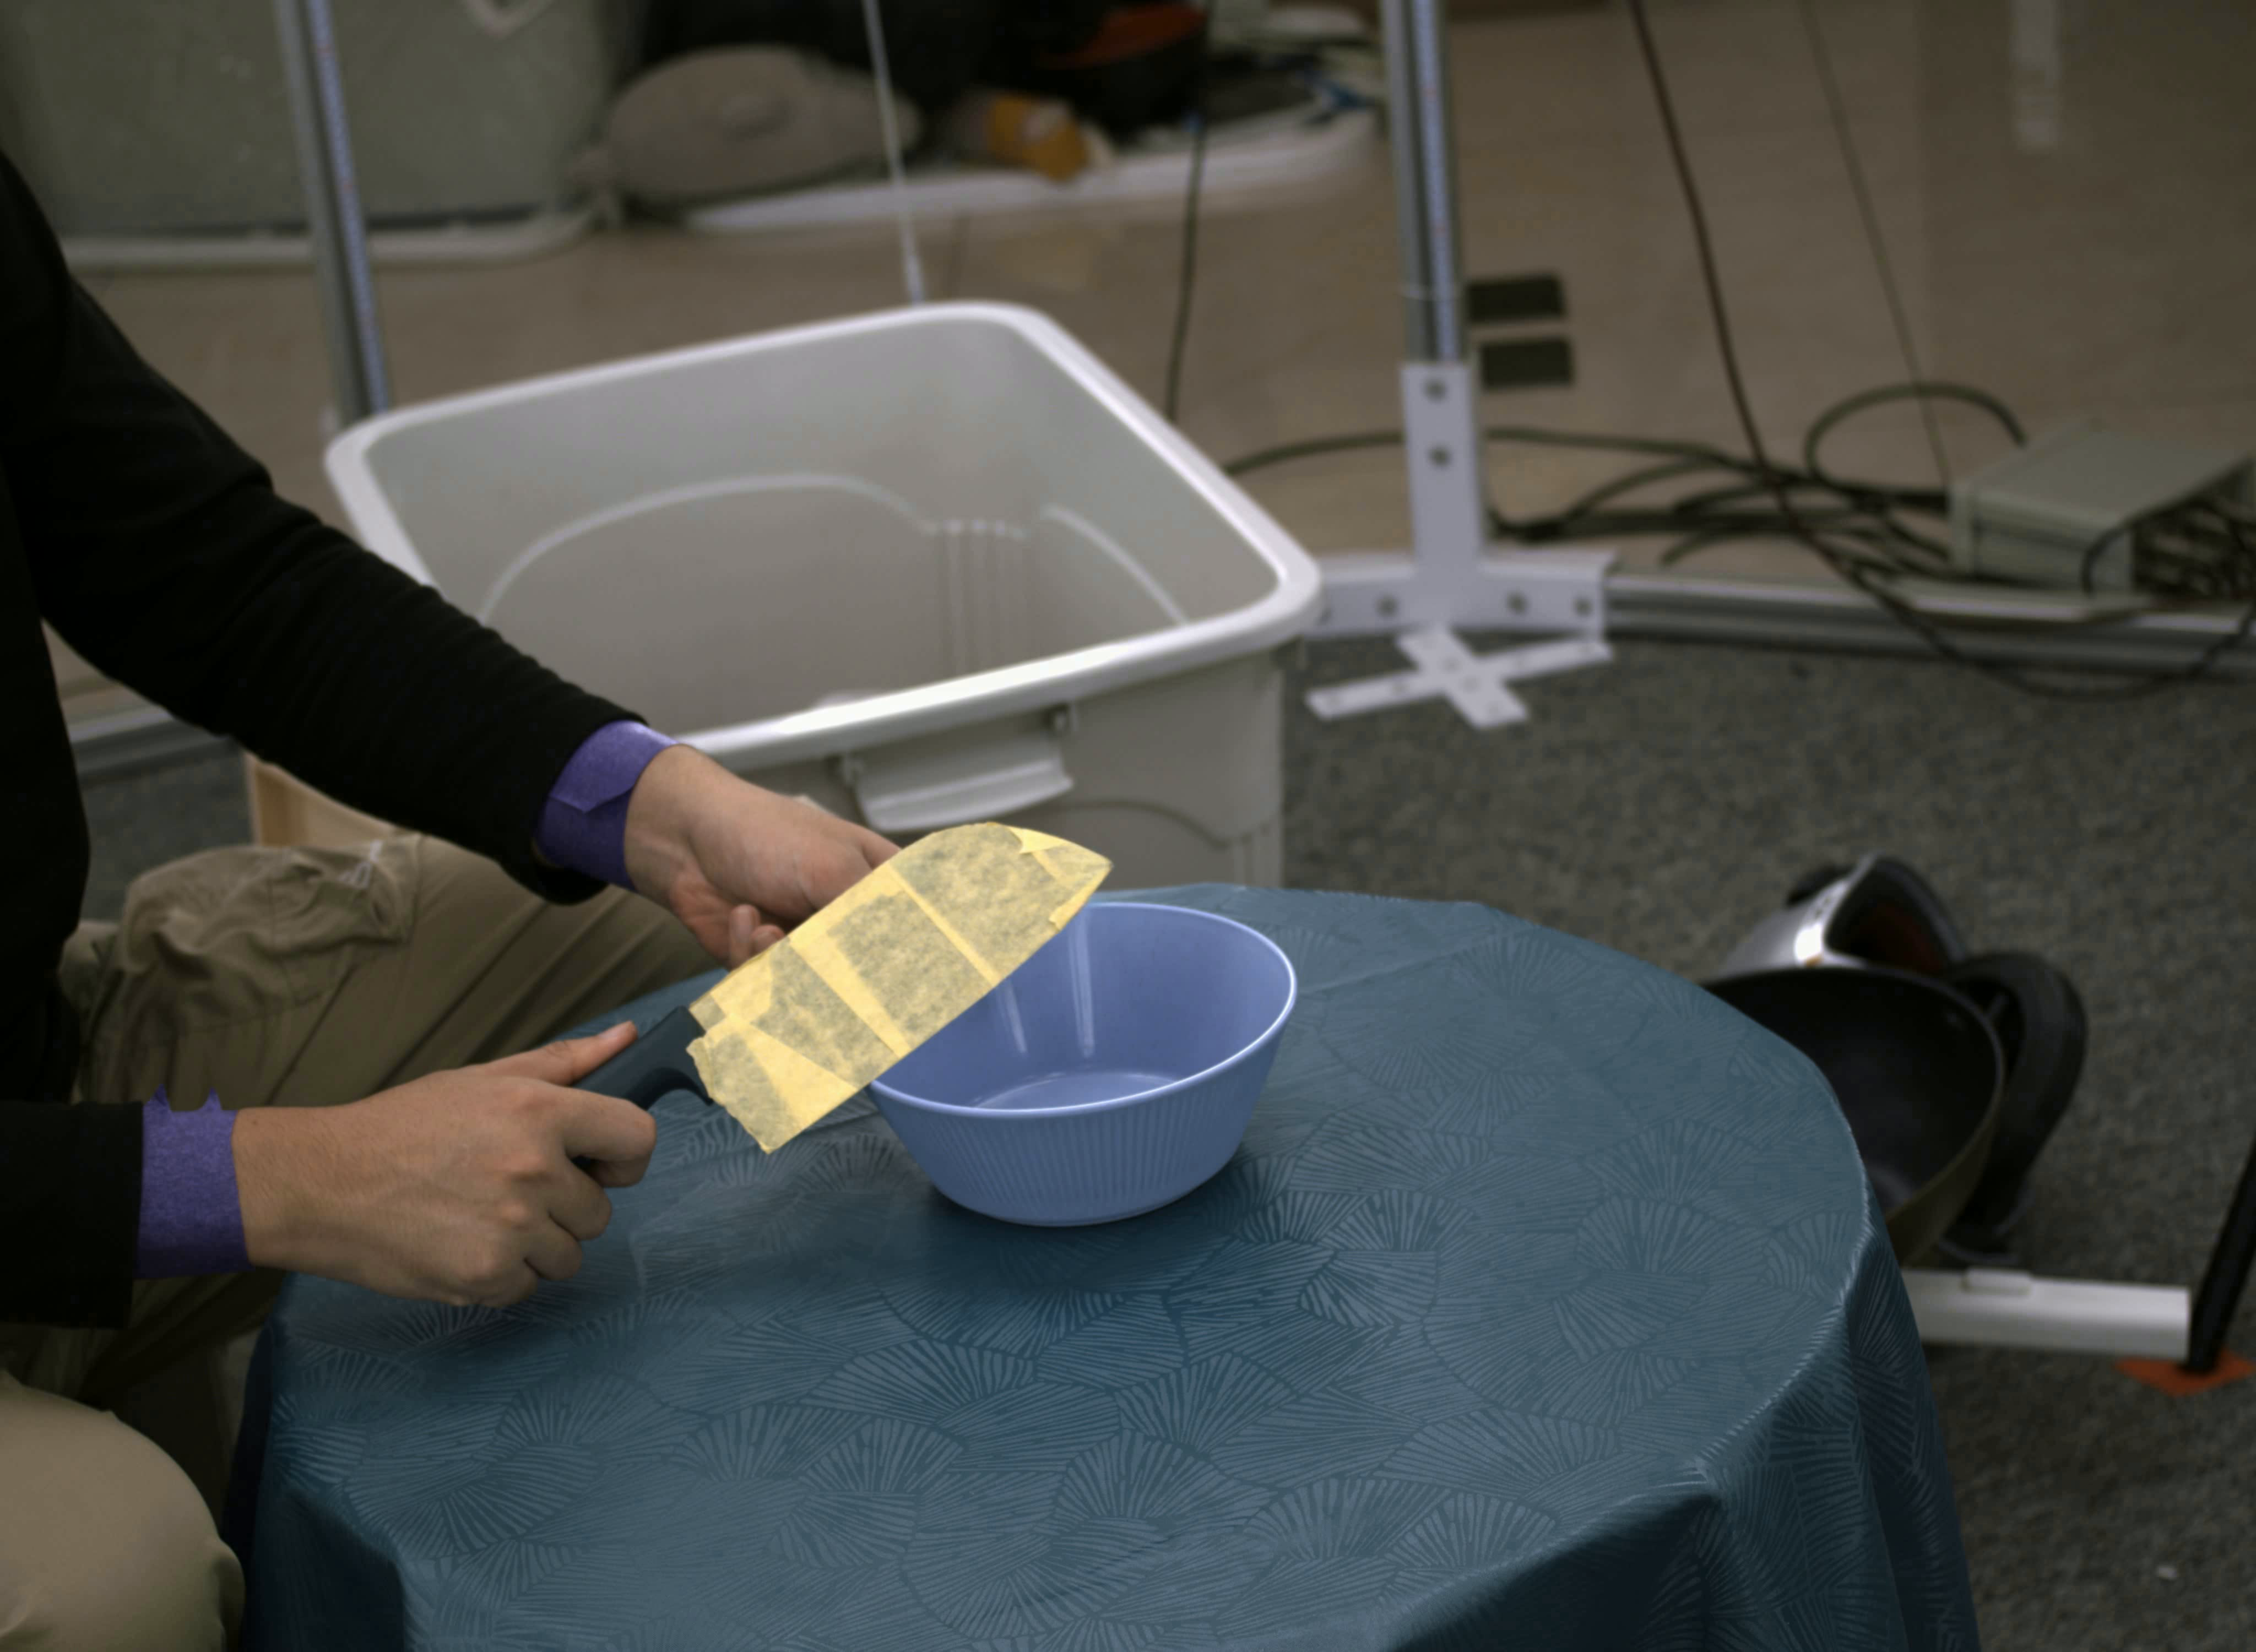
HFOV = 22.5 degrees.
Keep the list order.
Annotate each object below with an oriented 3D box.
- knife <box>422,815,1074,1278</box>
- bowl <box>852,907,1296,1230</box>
[{"bbox_3d":[-0.138,0.085,2.122,0.288,0.027,0.080,-35,58,-9],"label":"knife"},{"bbox_3d":[-0.020,0.098,2.160,0.176,0.071,0.173,-6,25,3],"label":"bowl"}]
